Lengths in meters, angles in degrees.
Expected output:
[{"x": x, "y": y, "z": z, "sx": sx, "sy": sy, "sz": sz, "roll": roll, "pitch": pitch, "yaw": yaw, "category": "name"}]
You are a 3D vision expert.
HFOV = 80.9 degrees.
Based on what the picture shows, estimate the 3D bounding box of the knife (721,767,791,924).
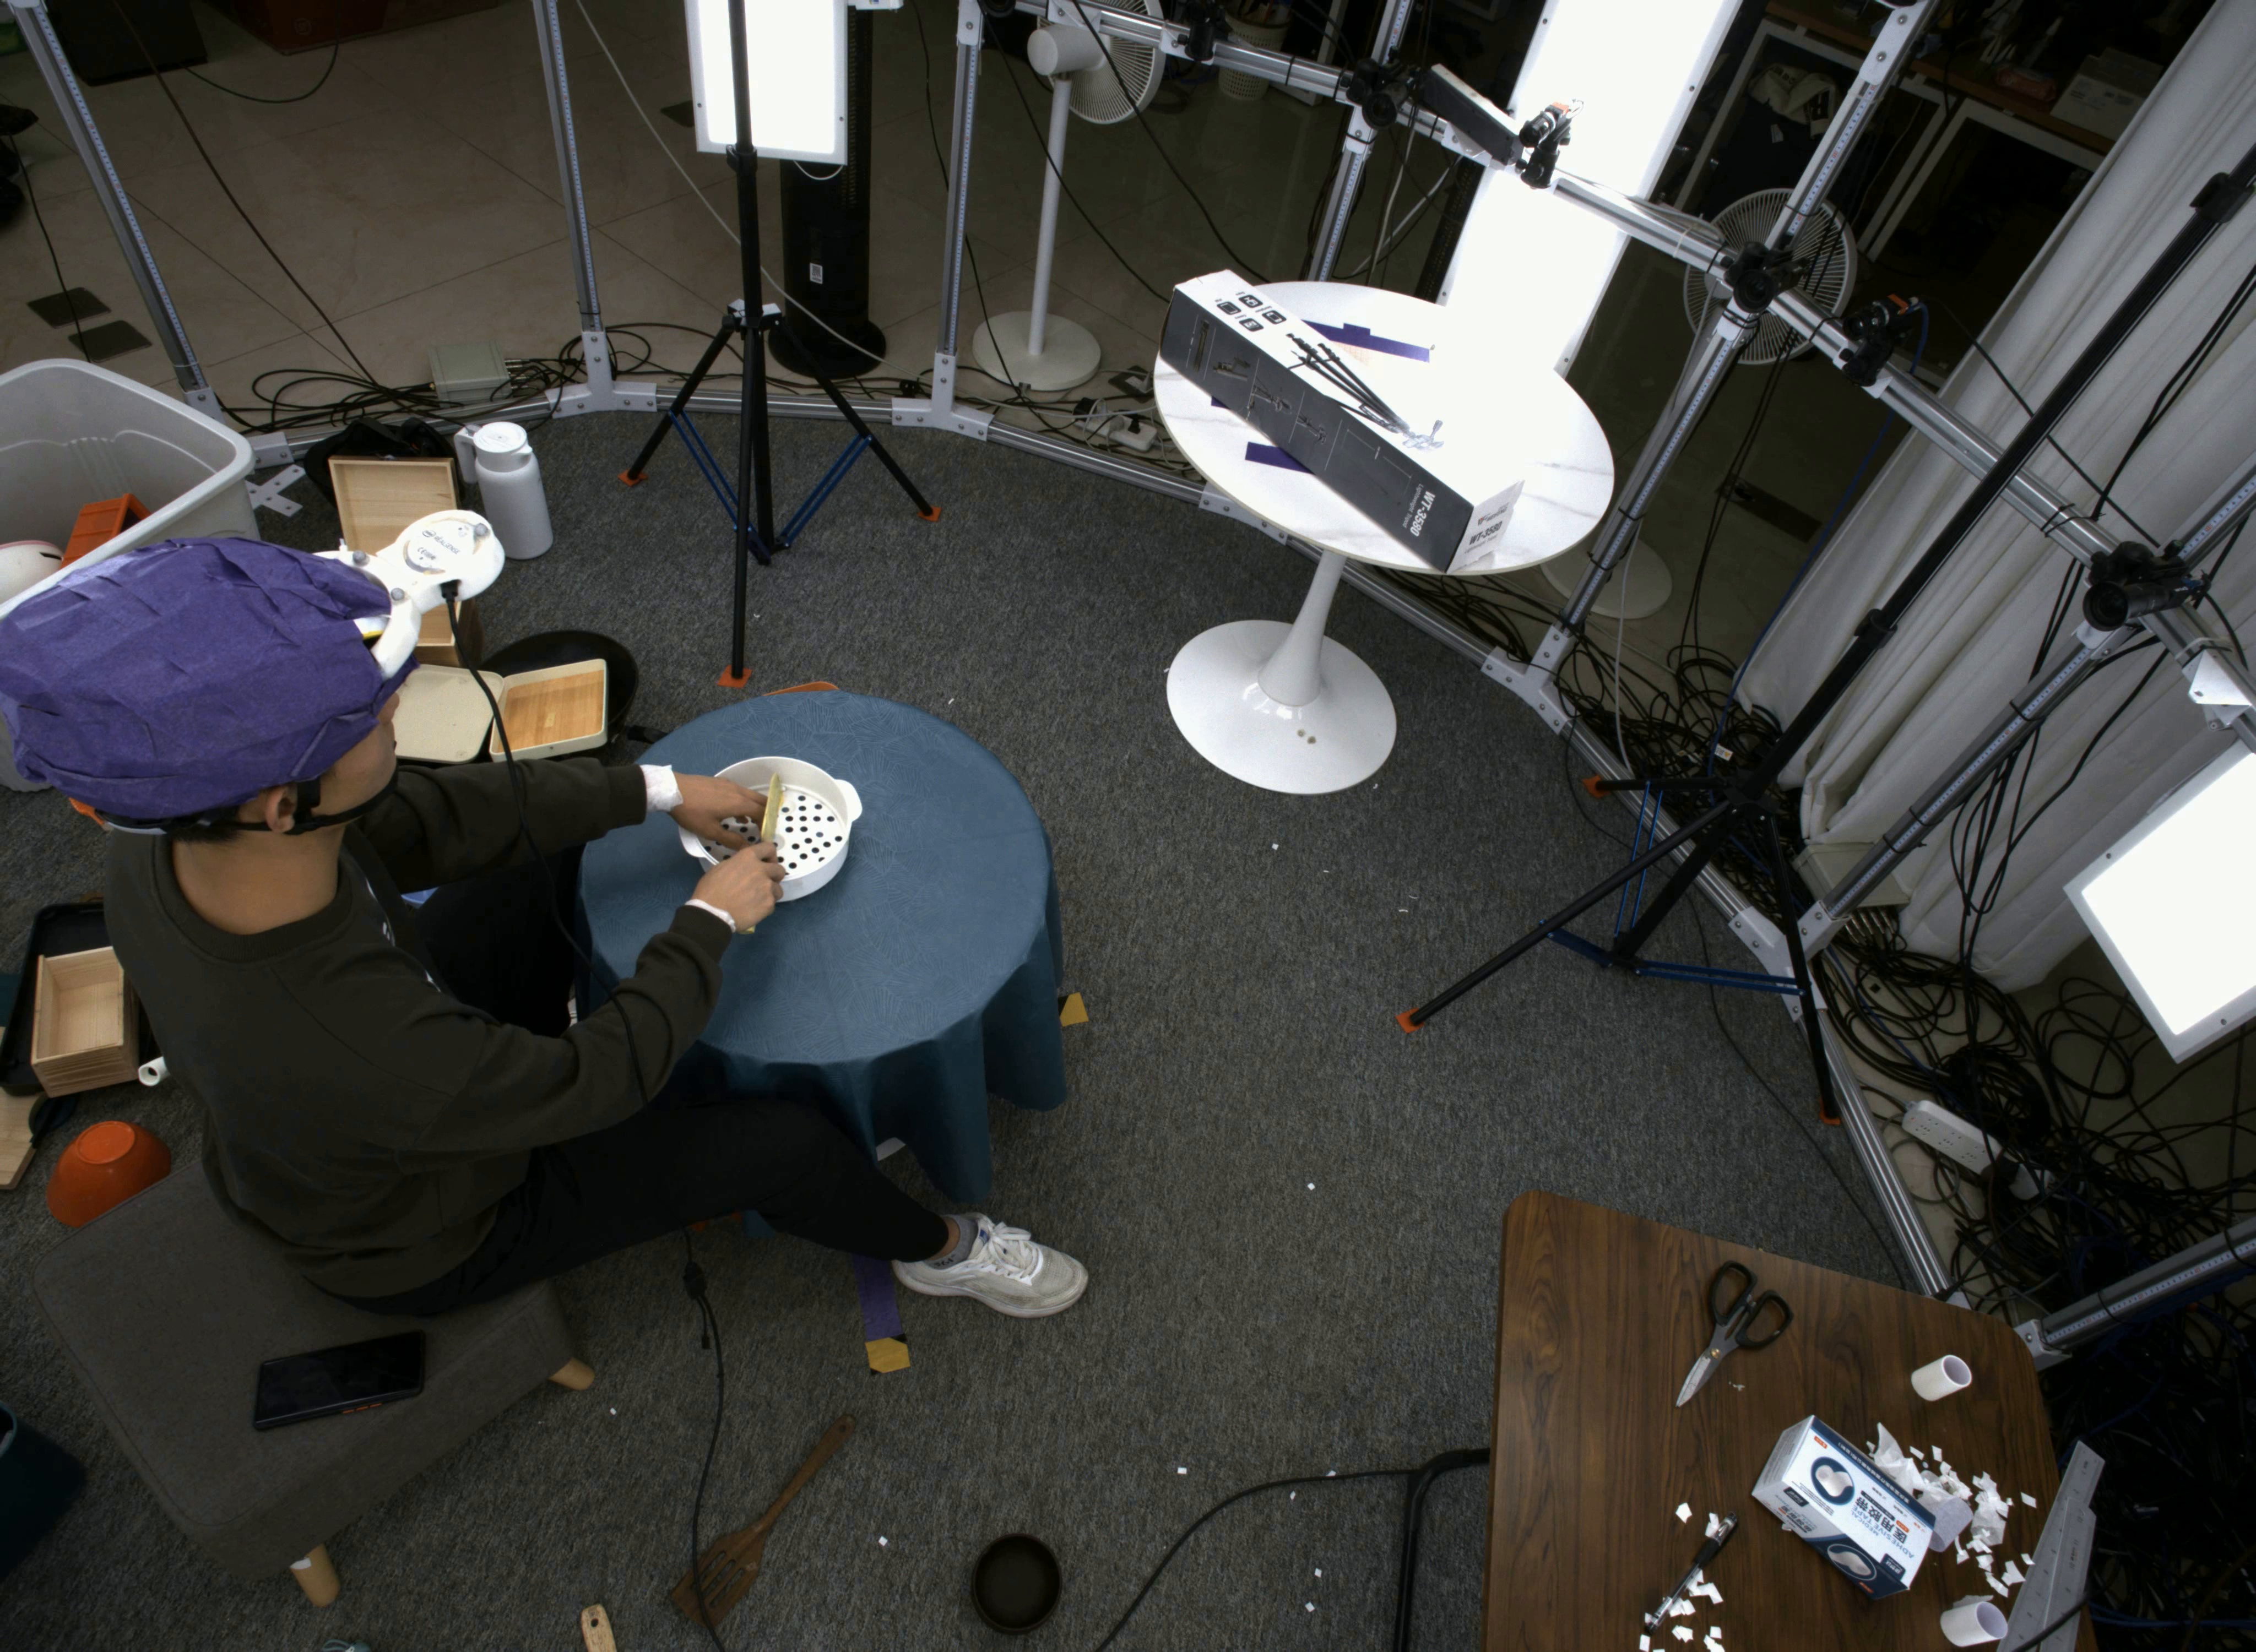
[{"x": -0.460, "y": 0.024, "z": 1.624, "sx": 0.027, "sy": 0.083, "sz": 0.284, "roll": 4, "pitch": 41, "yaw": 1, "category": "knife"}]

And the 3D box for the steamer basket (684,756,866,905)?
[{"x": -0.454, "y": 0.004, "z": 1.681, "sx": 0.231, "sy": 0.071, "sz": 0.197, "roll": -16, "pitch": 58, "yaw": -22, "category": "steamer basket"}]
